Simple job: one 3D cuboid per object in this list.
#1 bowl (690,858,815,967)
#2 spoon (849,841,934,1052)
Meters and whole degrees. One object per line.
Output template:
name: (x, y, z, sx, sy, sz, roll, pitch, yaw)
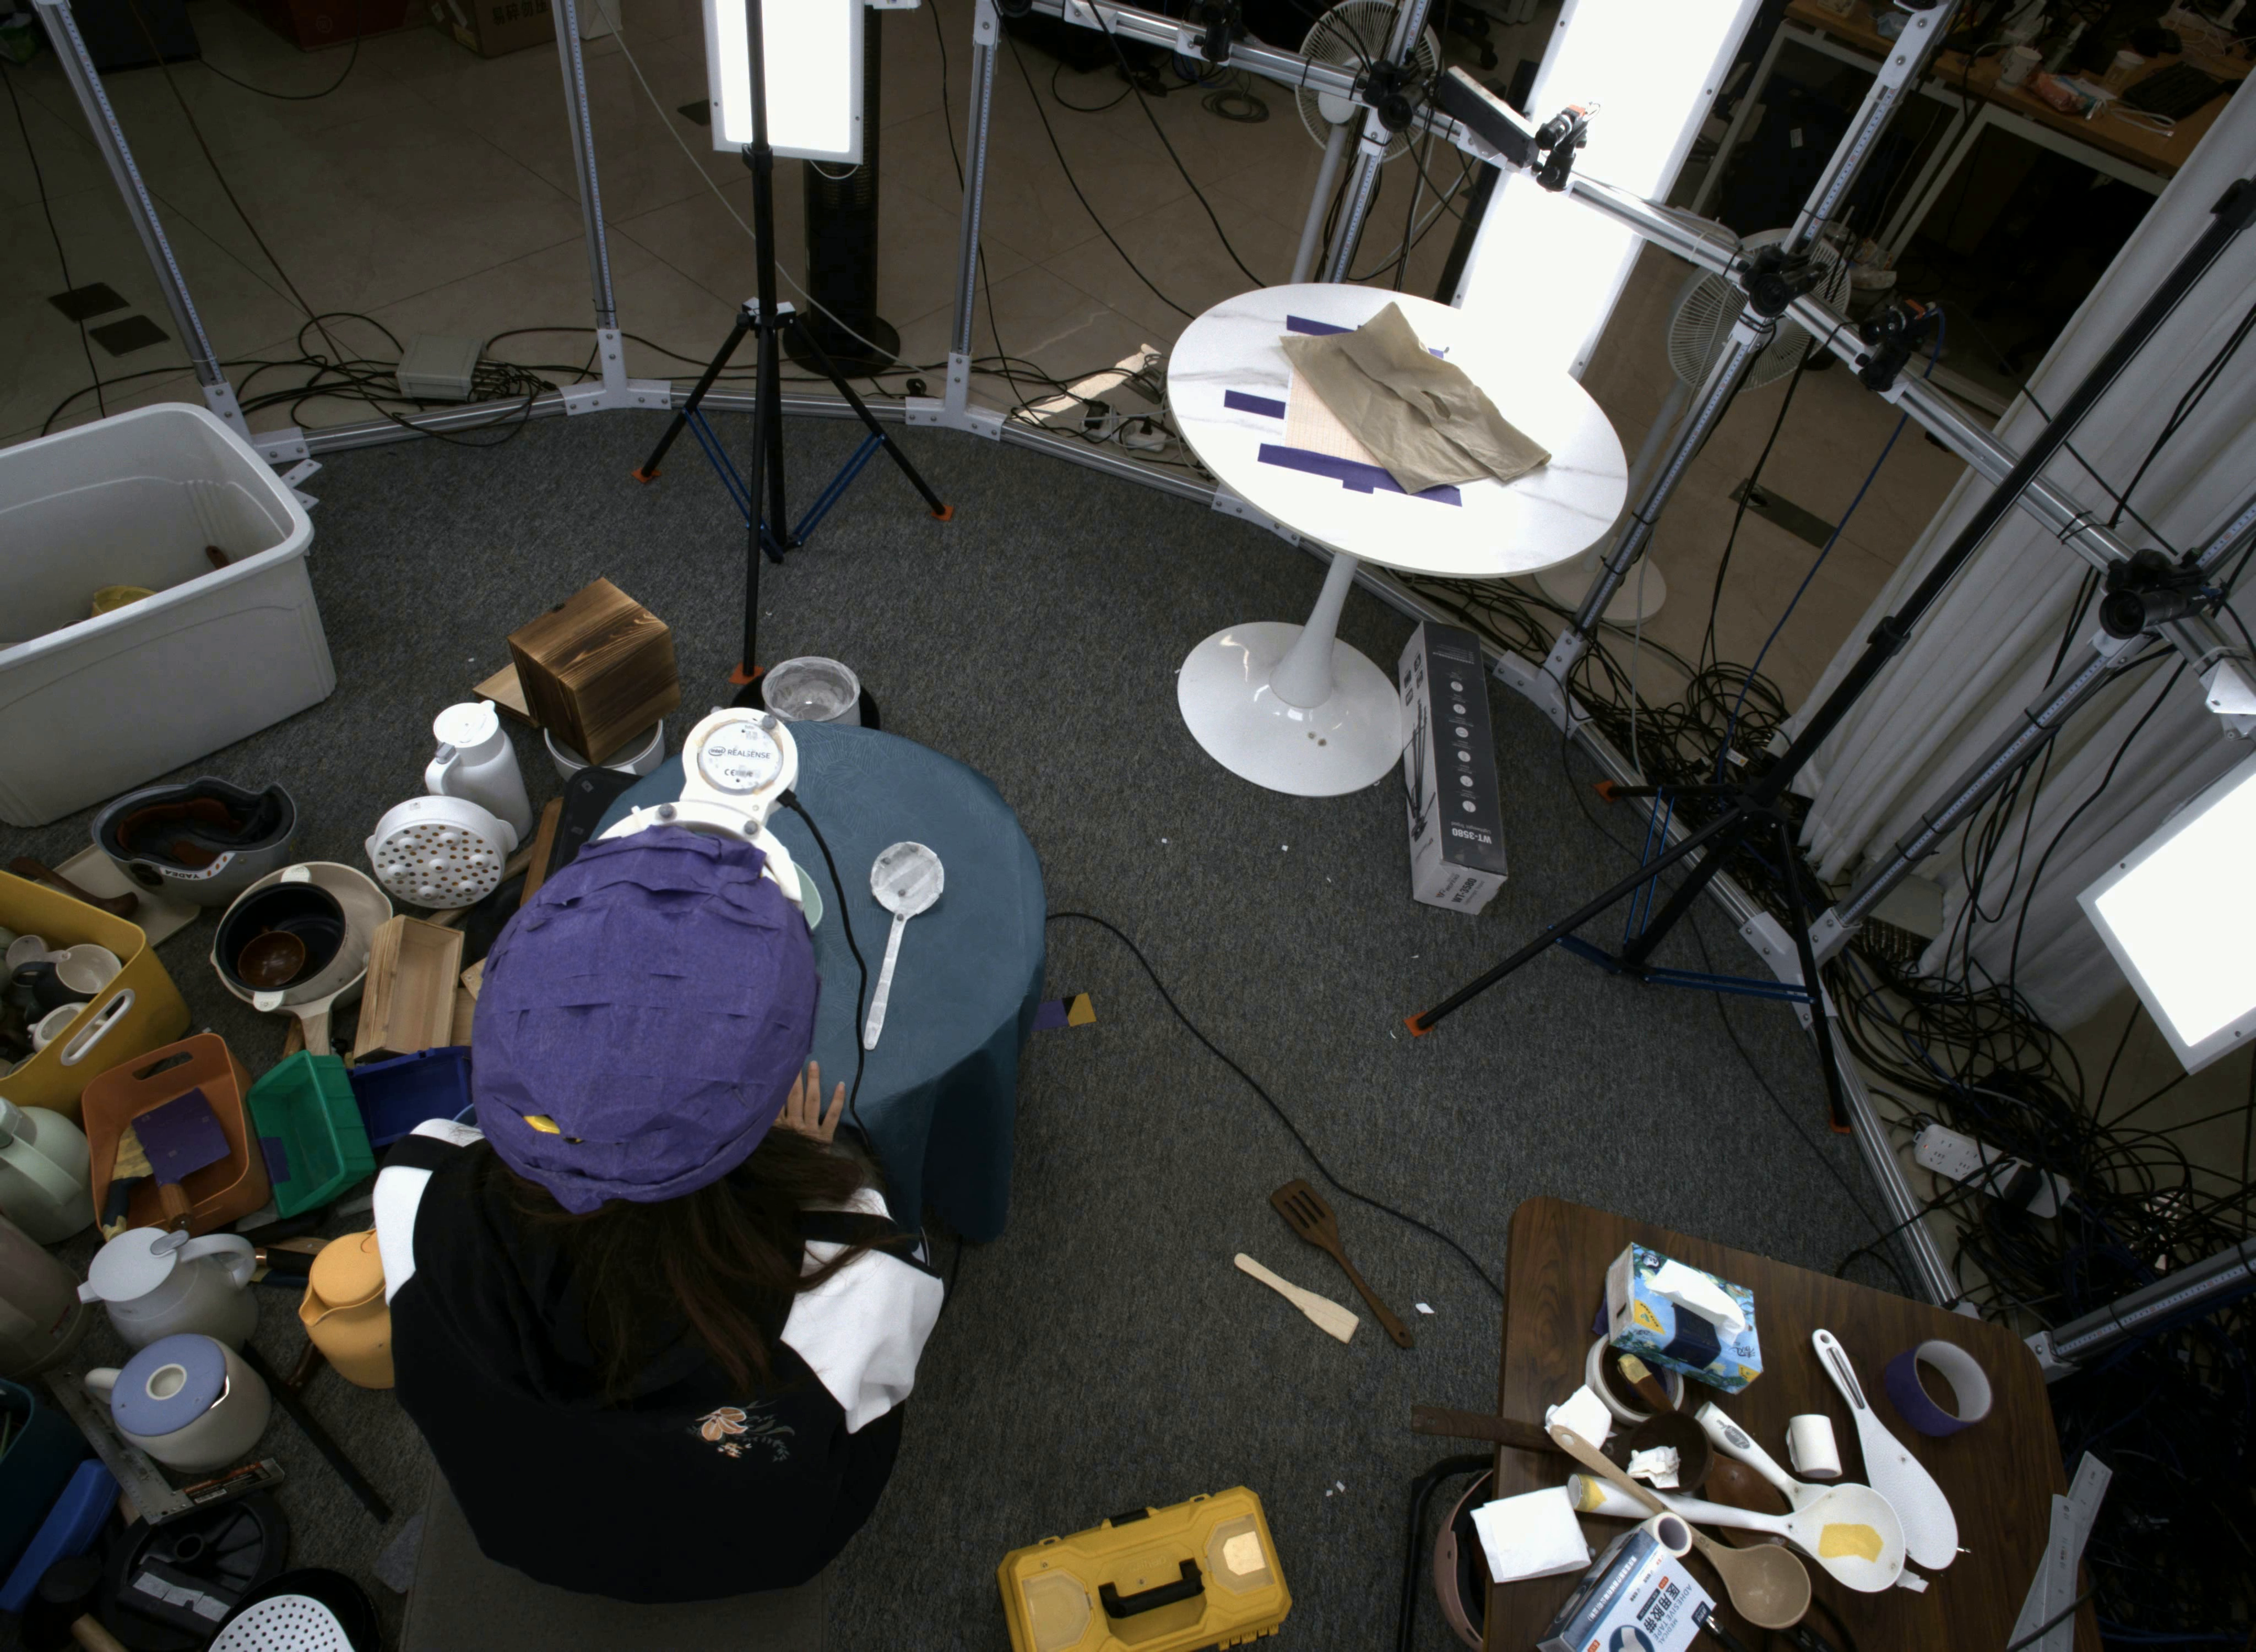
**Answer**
bowl: (-0.460, 0.114, 1.591, 0.151, 0.060, 0.149, 8, 53, -8)
spoon: (-0.310, 0.142, 1.606, 0.100, 0.061, 0.273, 10, 52, 0)
